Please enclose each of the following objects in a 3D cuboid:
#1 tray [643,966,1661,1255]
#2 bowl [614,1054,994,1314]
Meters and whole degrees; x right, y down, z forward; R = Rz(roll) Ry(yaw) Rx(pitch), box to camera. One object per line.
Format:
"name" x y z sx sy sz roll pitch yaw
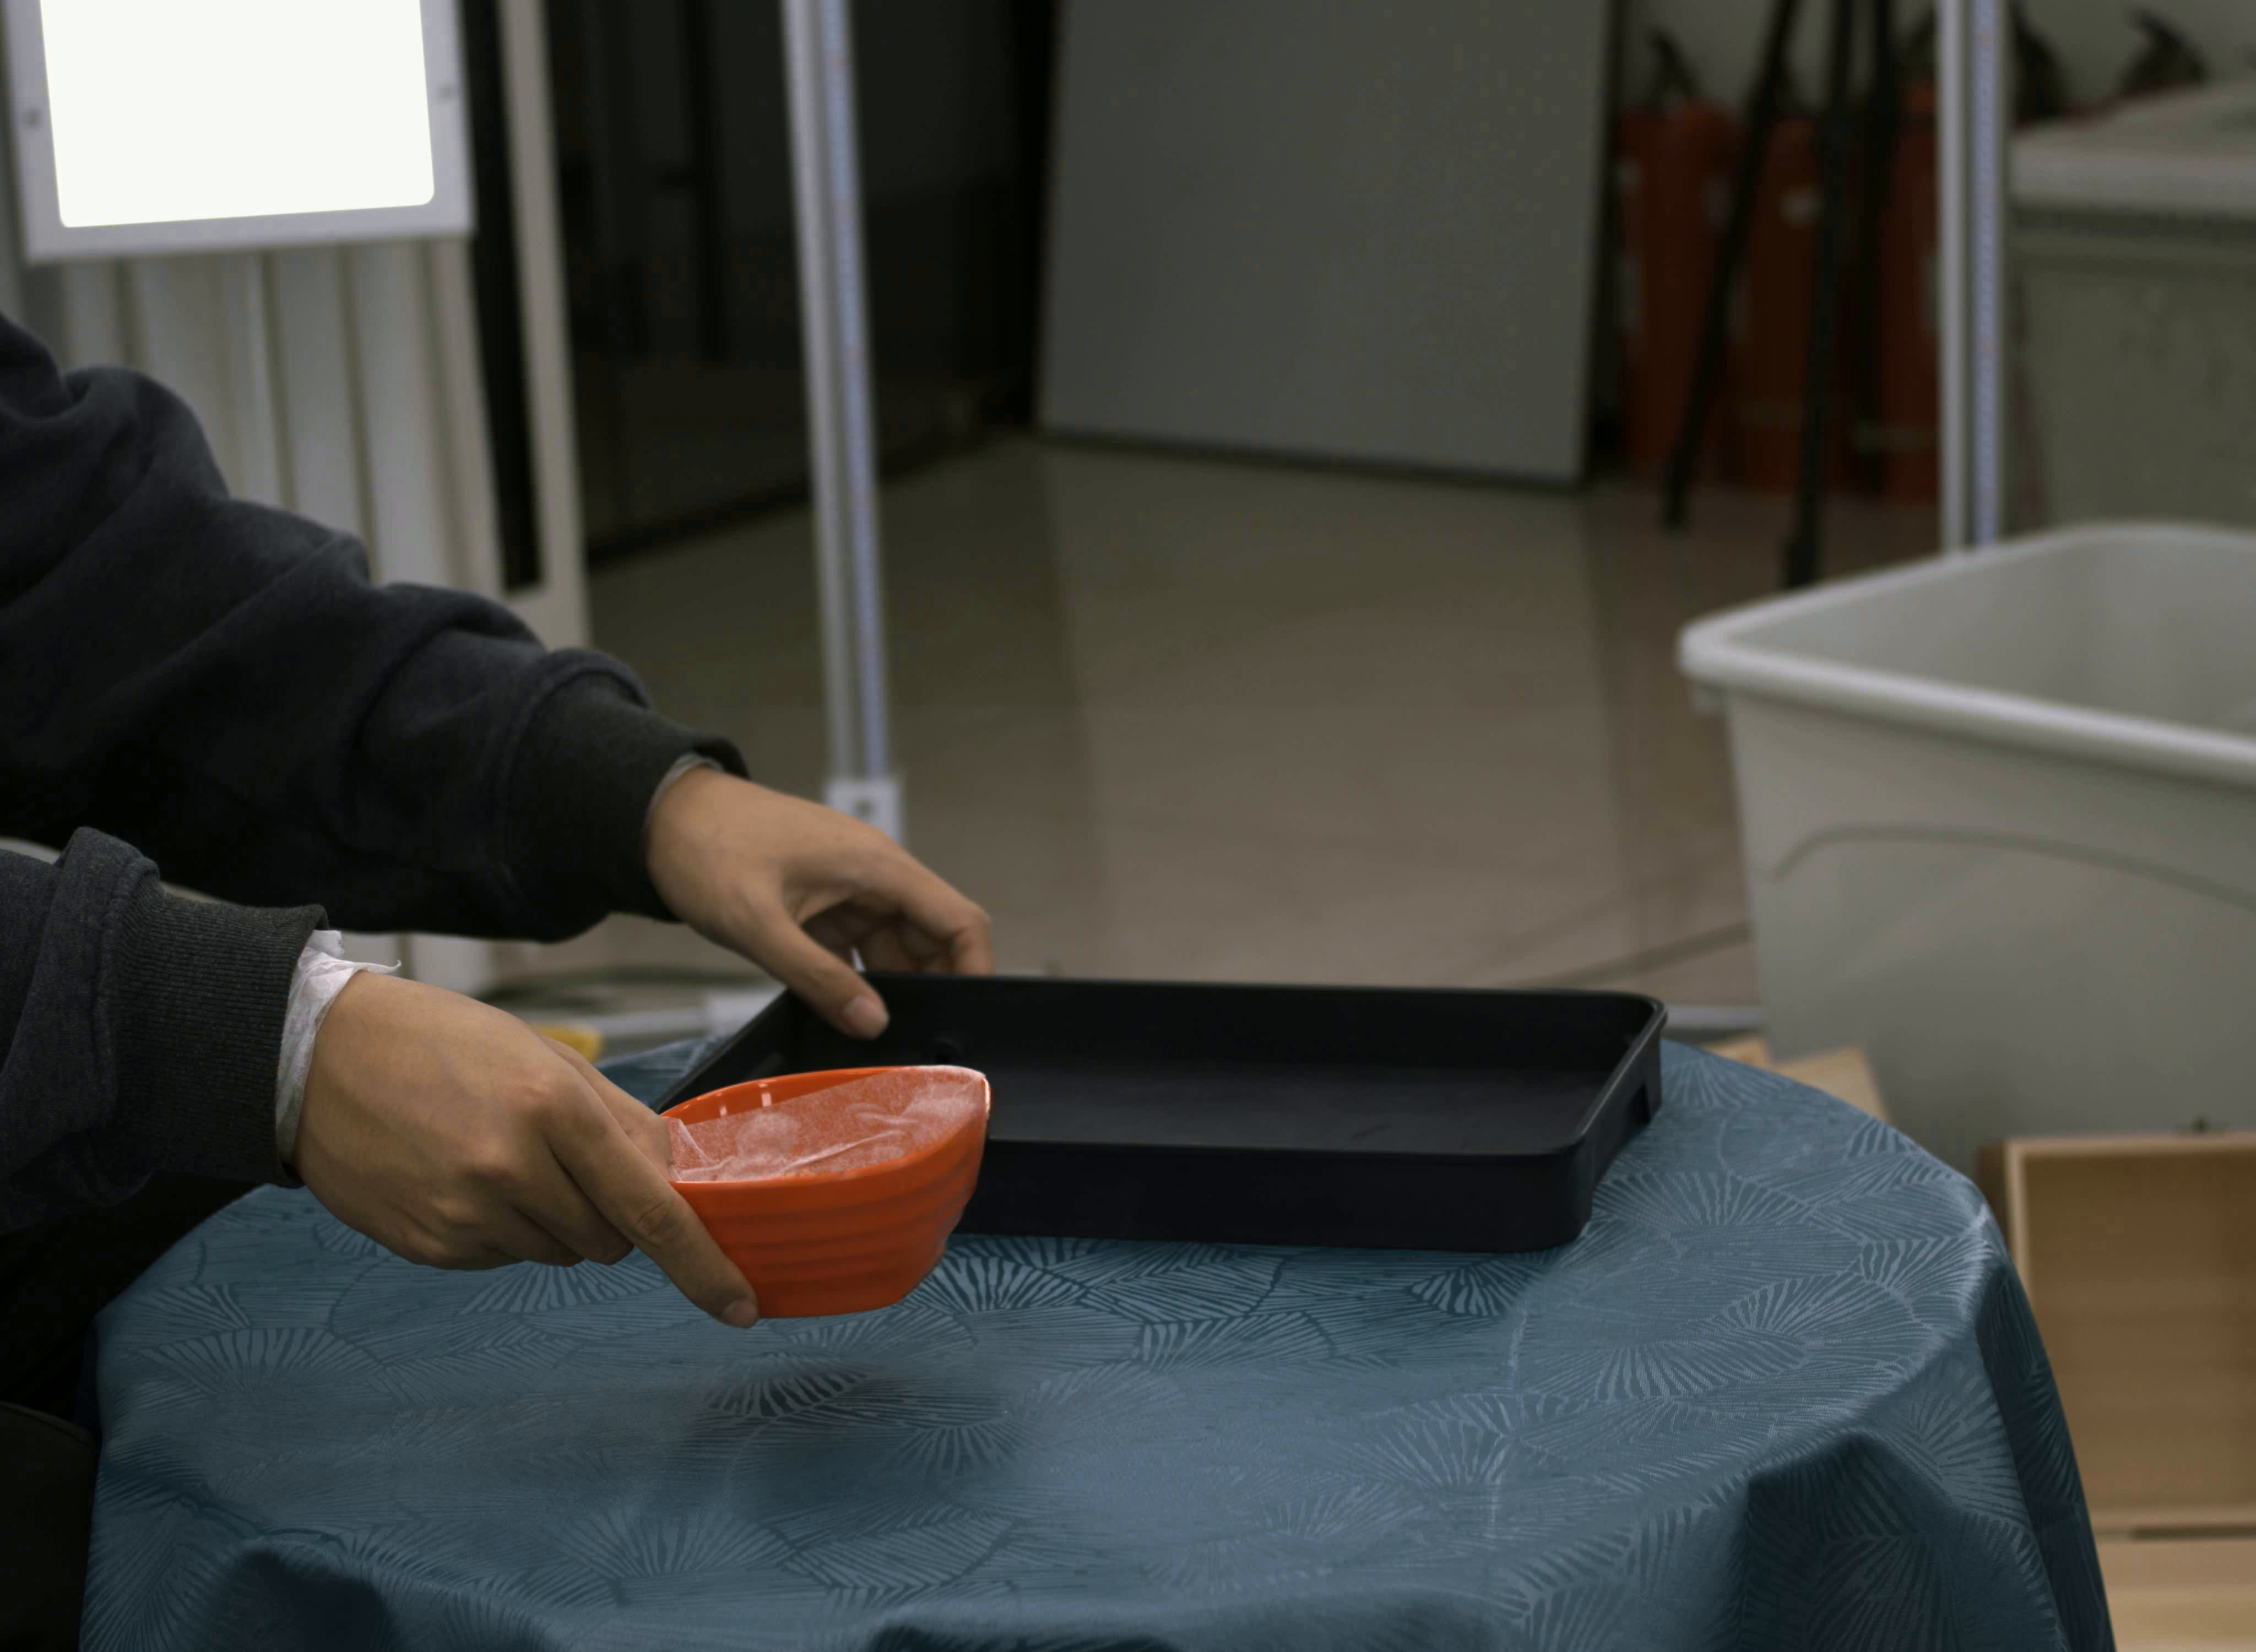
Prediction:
"tray" 0.011 0.092 1.800 0.317 0.037 0.183 1 14 17
"bowl" -0.092 0.108 1.592 0.117 0.052 0.119 -8 14 1
